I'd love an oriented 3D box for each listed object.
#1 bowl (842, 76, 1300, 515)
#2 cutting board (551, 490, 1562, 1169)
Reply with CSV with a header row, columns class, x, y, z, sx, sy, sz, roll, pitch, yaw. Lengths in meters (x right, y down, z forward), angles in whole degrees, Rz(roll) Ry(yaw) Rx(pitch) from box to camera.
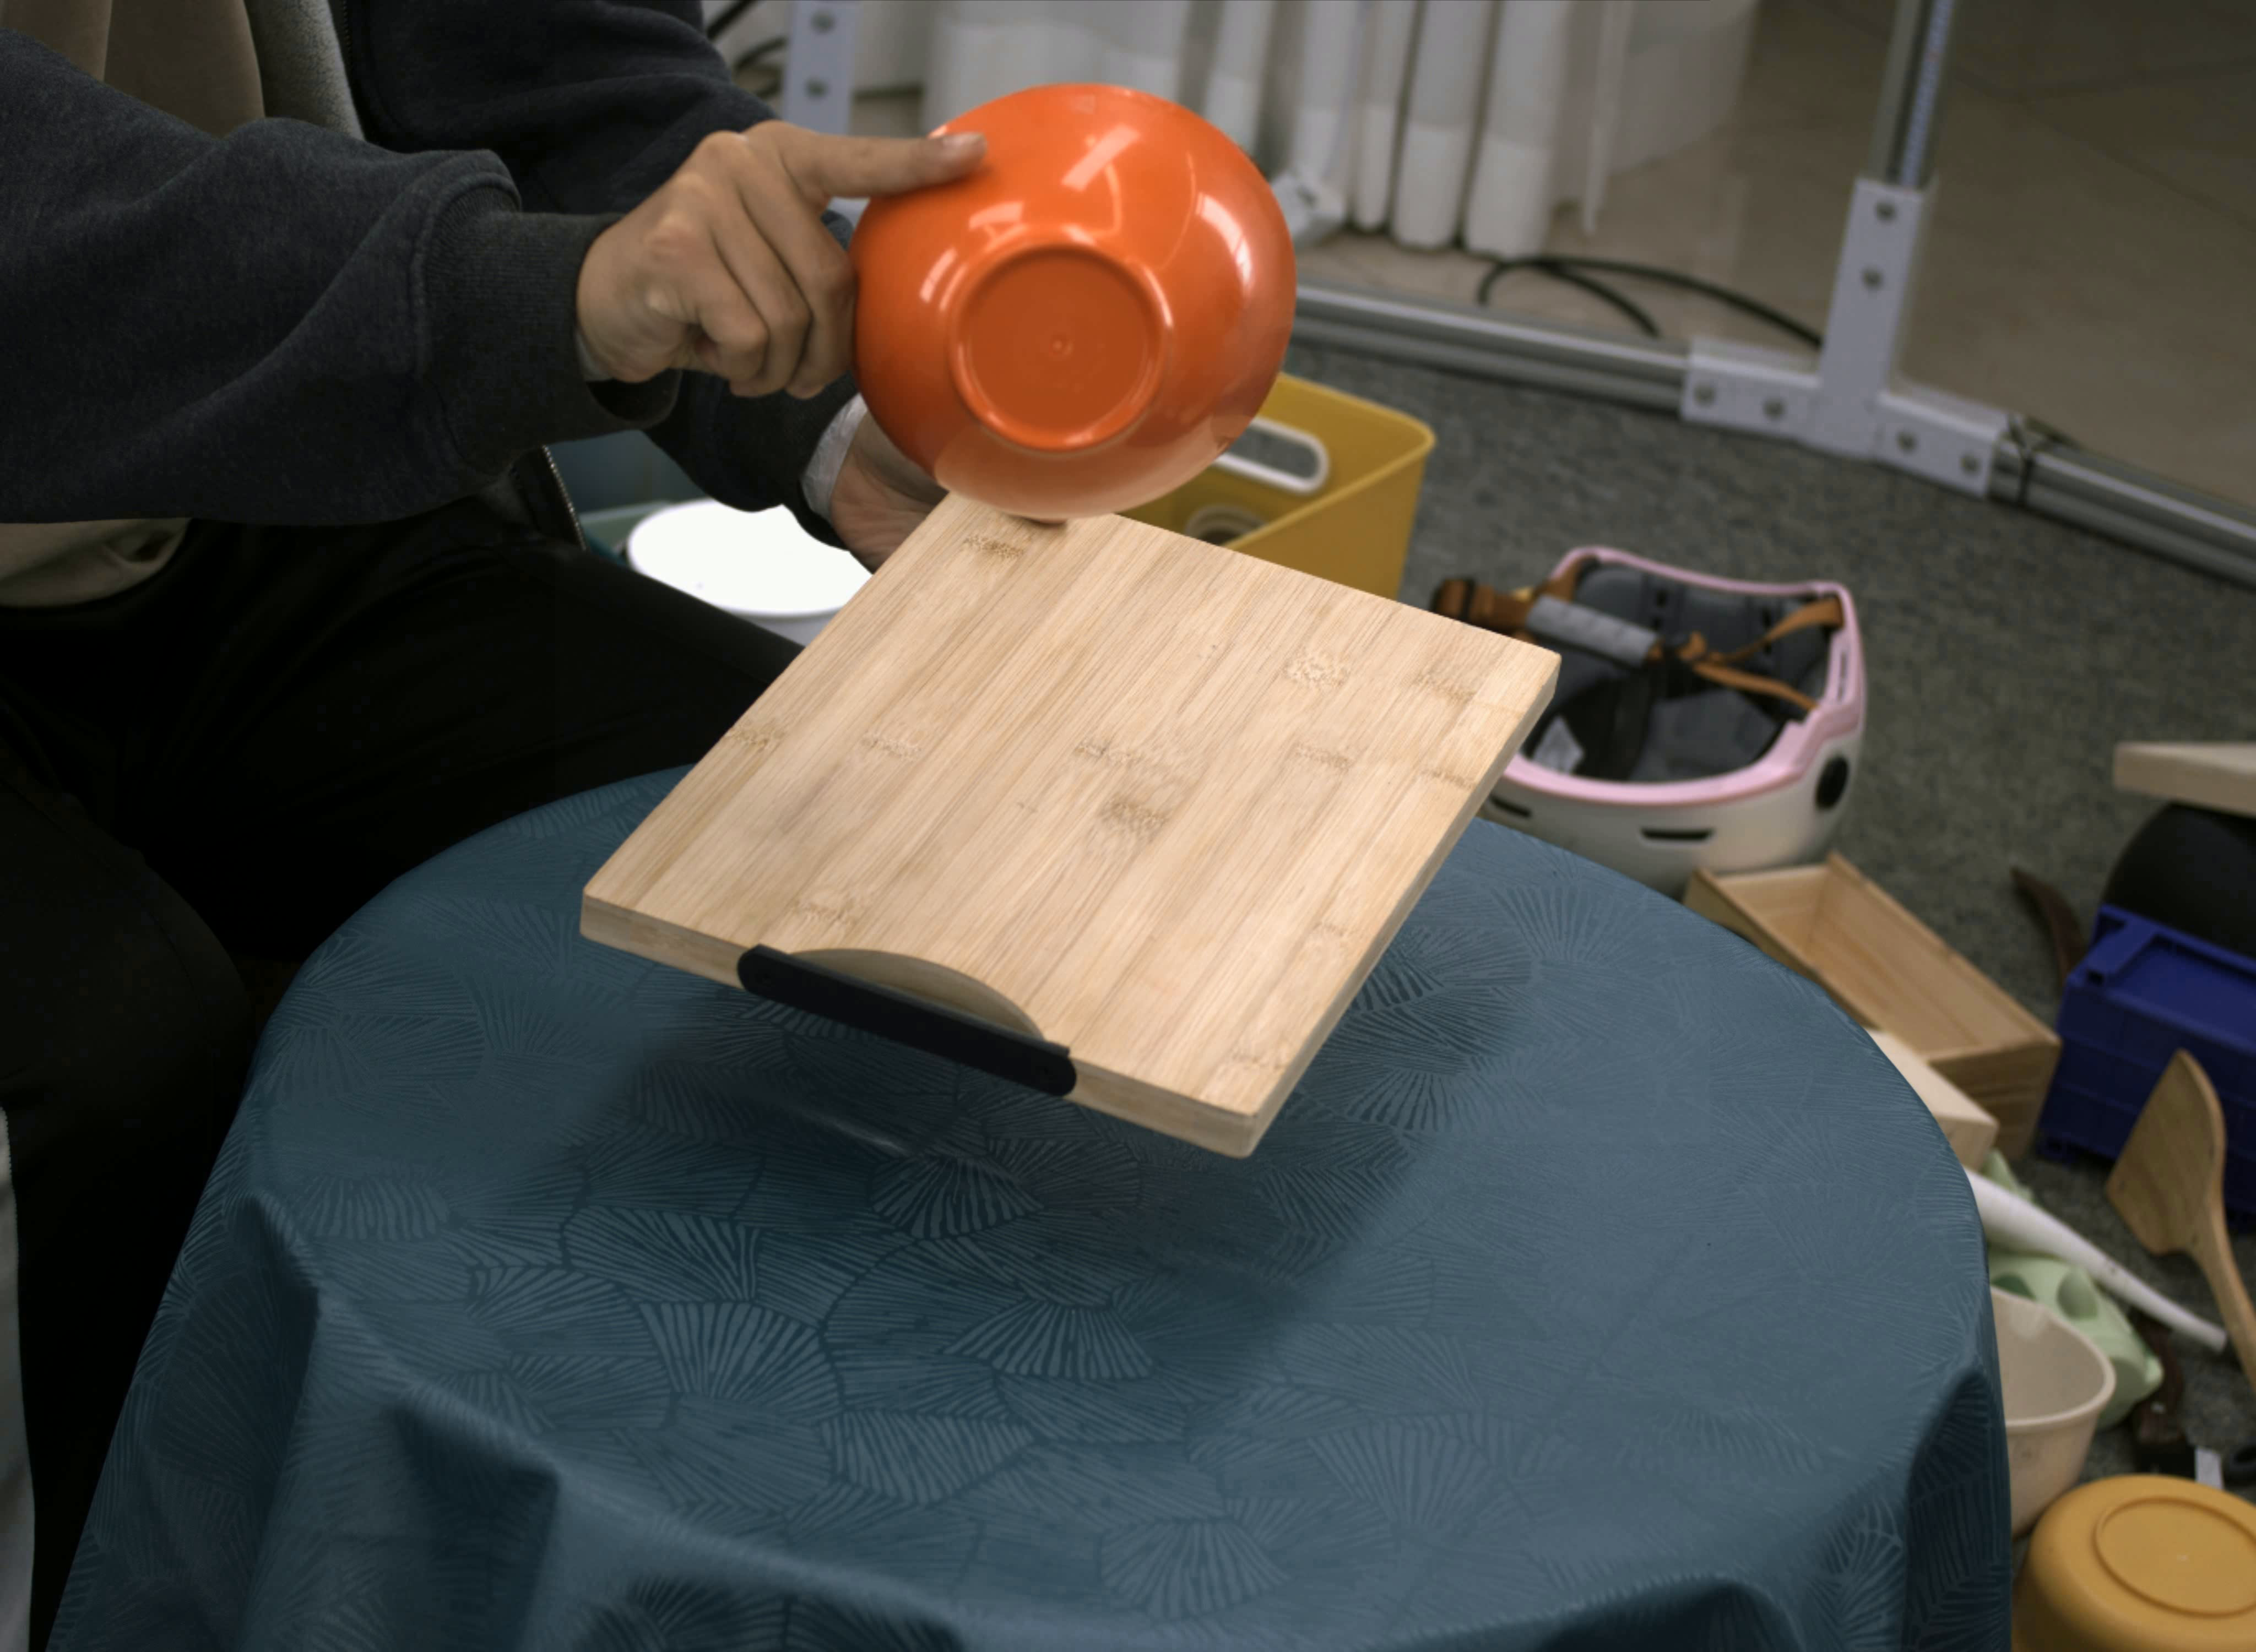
class,x,y,z,sx,sy,sz,roll,pitch,yaw
bowl,-0.017,-0.156,1.667,0.147,0.148,0.105,6,18,-3
cutting board,-0.014,-0.010,1.854,0.251,0.023,0.349,17,33,14
